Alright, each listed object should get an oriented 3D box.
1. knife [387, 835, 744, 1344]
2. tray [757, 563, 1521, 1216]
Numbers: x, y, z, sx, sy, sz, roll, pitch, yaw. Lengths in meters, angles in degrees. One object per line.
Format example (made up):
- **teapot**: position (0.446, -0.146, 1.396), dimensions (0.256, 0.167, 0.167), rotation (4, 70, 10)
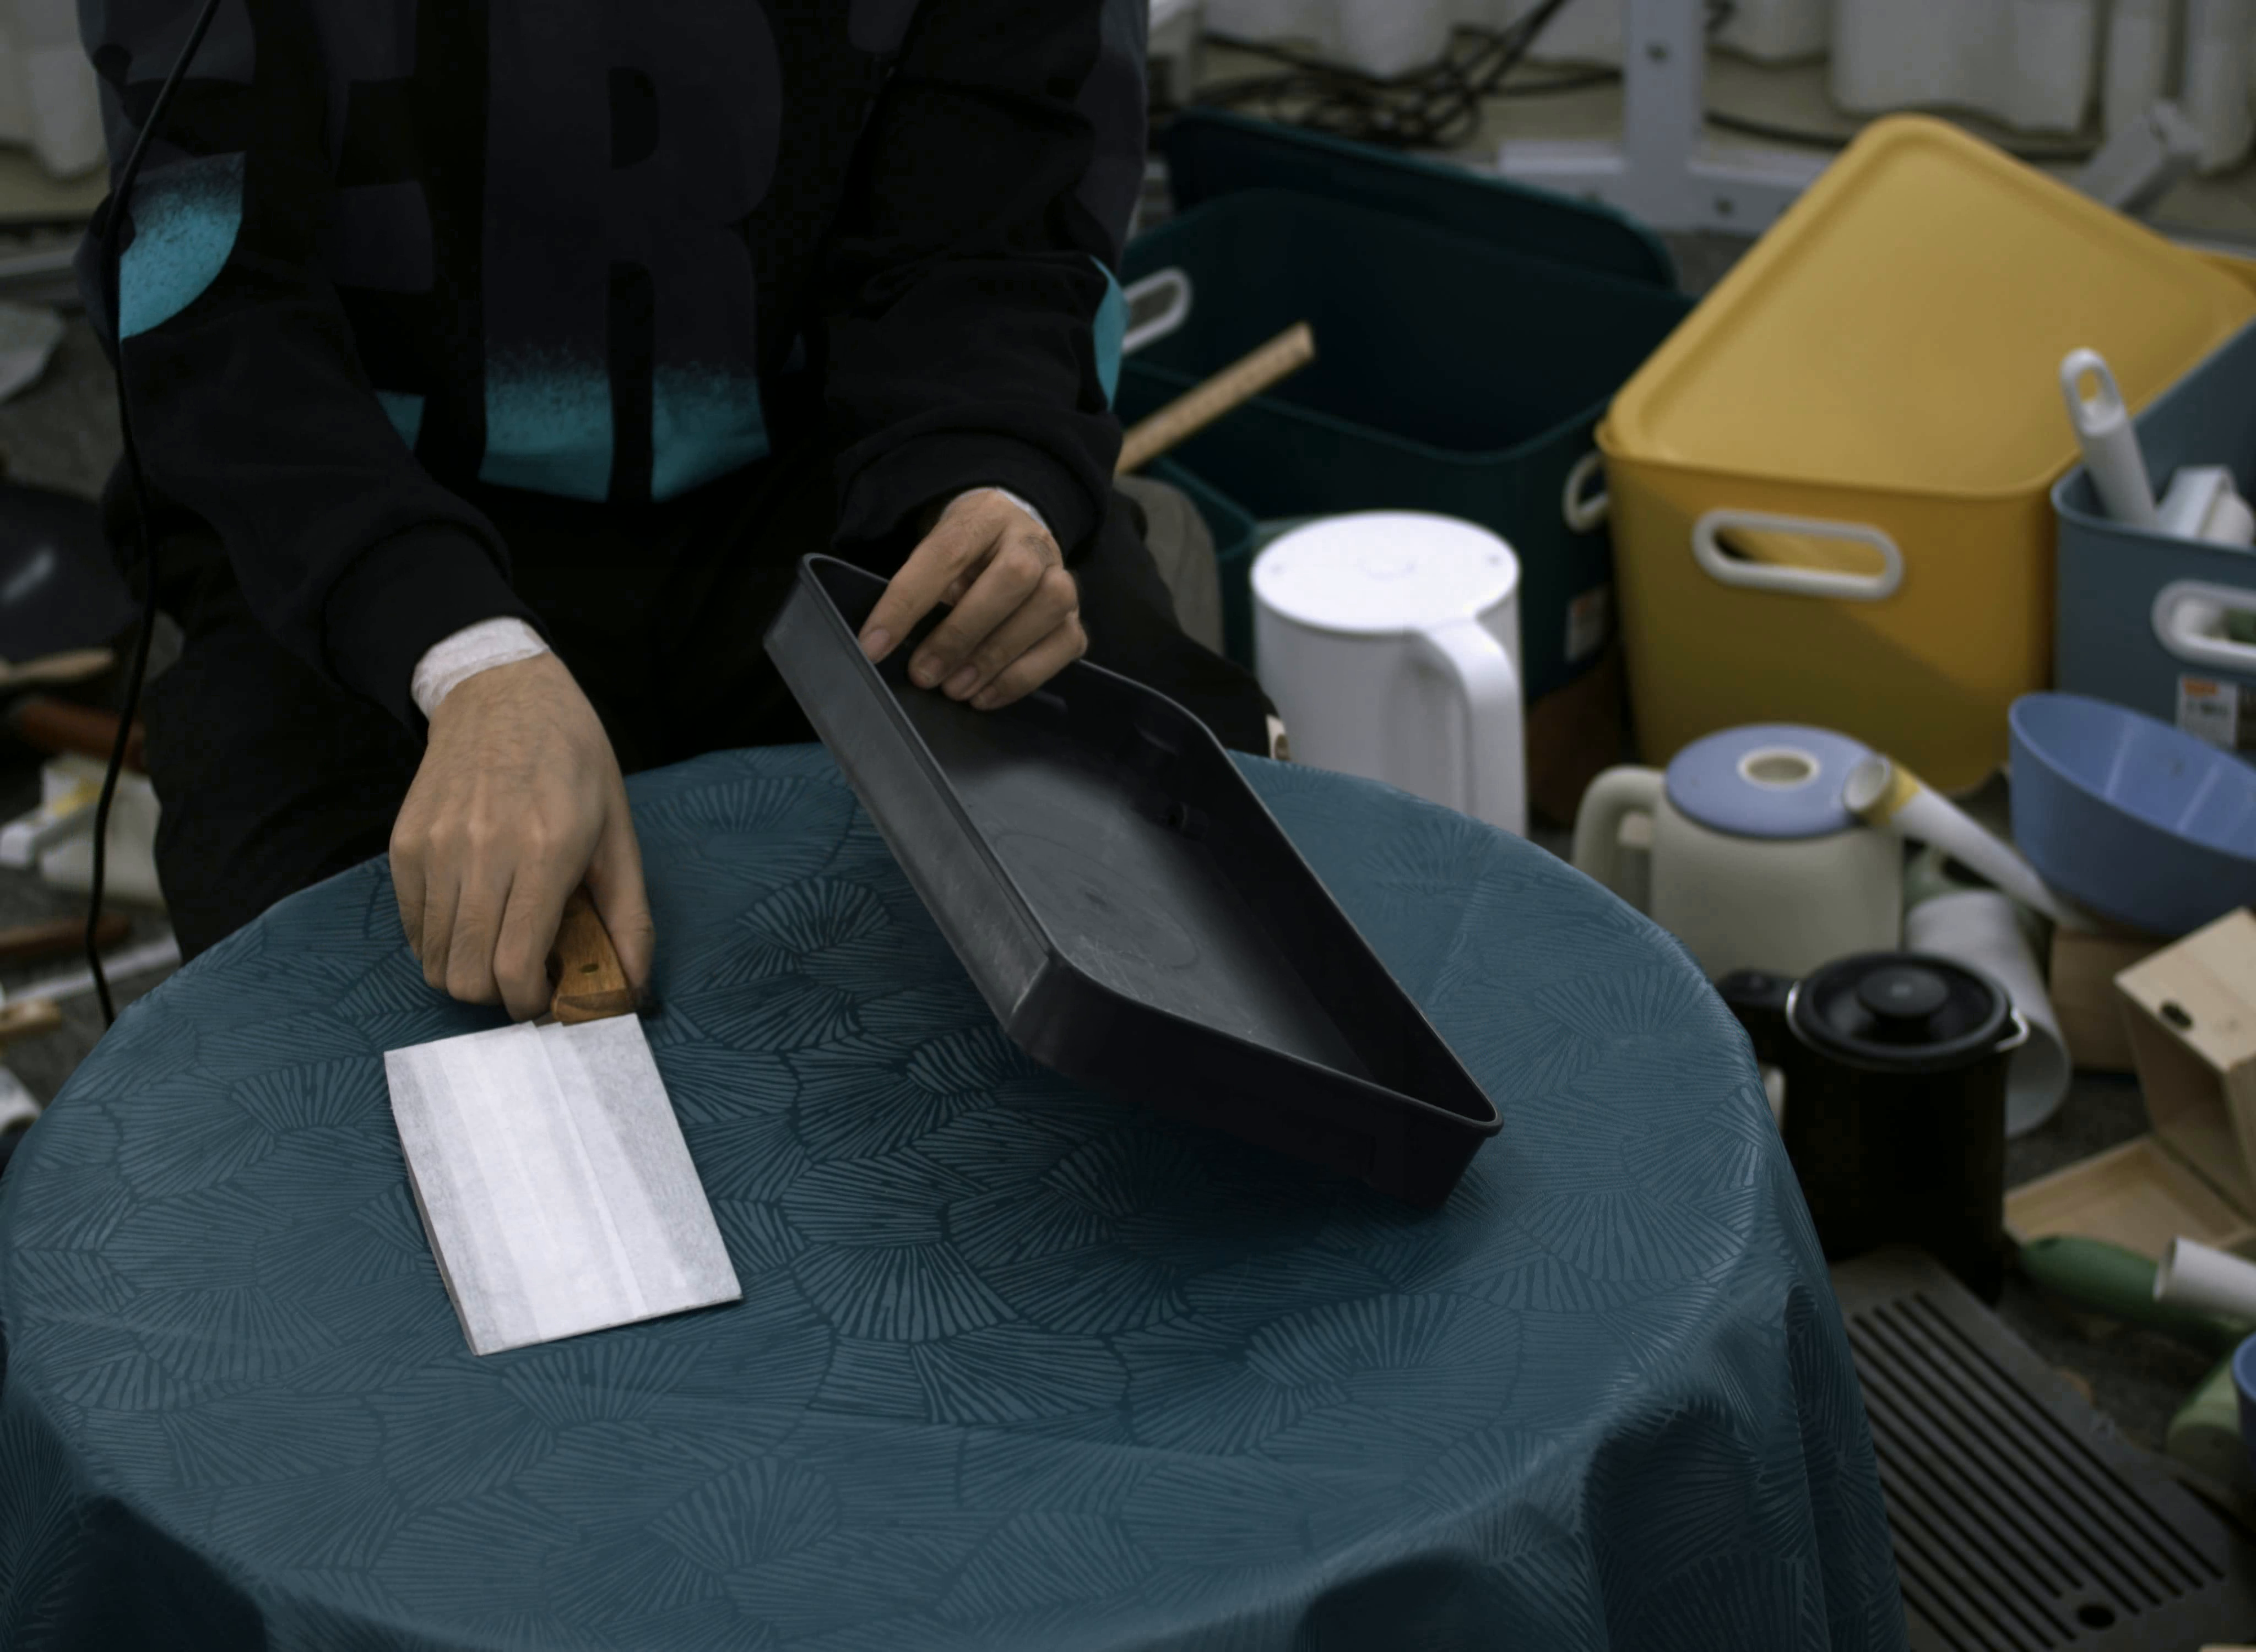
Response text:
- **knife**: position (-0.205, 0.089, 1.928), dimensions (0.093, 0.021, 0.309), rotation (-11, 31, -11)
- **tray**: position (-0.002, 0.018, 1.913), dimensions (0.184, 0.037, 0.321), rotation (20, 18, -32)
